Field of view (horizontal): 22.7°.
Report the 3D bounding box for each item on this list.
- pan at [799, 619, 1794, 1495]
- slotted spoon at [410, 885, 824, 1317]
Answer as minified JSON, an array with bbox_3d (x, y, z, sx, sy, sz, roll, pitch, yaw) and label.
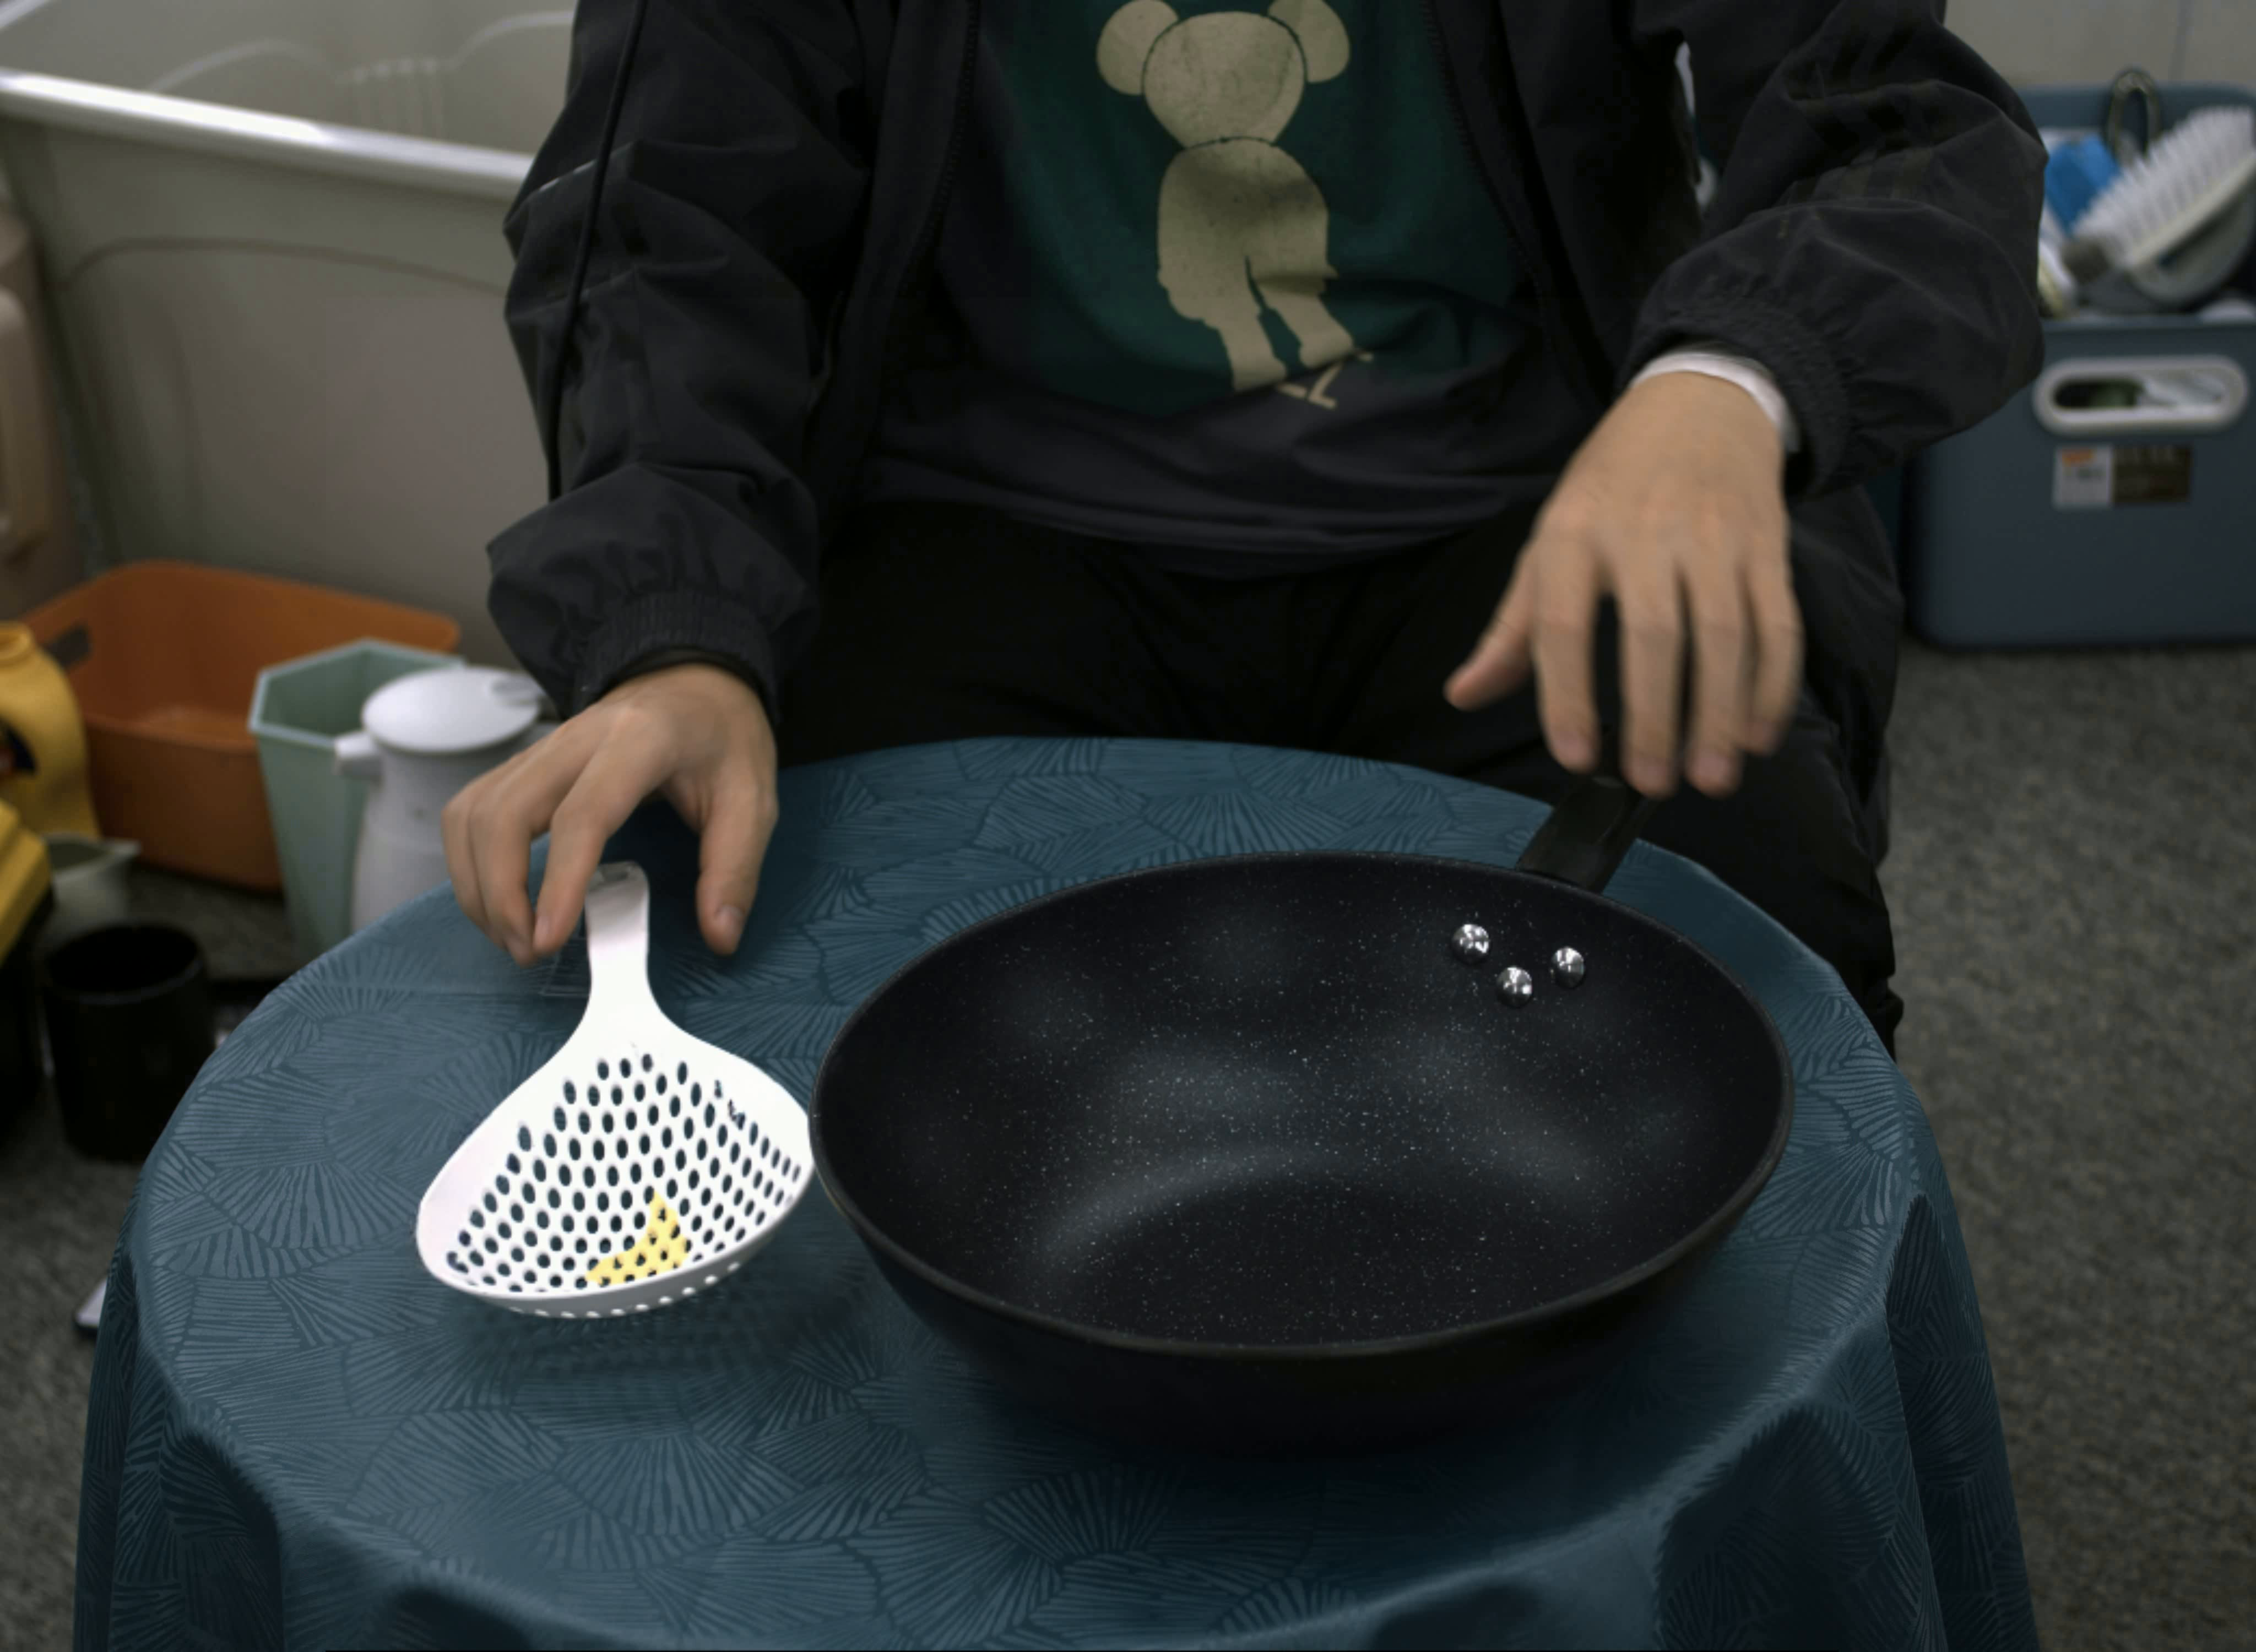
[{"bbox_3d":[0.097,0.076,1.823,0.308,0.110,0.484,15,33,28],"label":"pan"},{"bbox_3d":[-0.171,0.081,1.909,0.136,0.050,0.352,-11,27,0],"label":"slotted spoon"}]
